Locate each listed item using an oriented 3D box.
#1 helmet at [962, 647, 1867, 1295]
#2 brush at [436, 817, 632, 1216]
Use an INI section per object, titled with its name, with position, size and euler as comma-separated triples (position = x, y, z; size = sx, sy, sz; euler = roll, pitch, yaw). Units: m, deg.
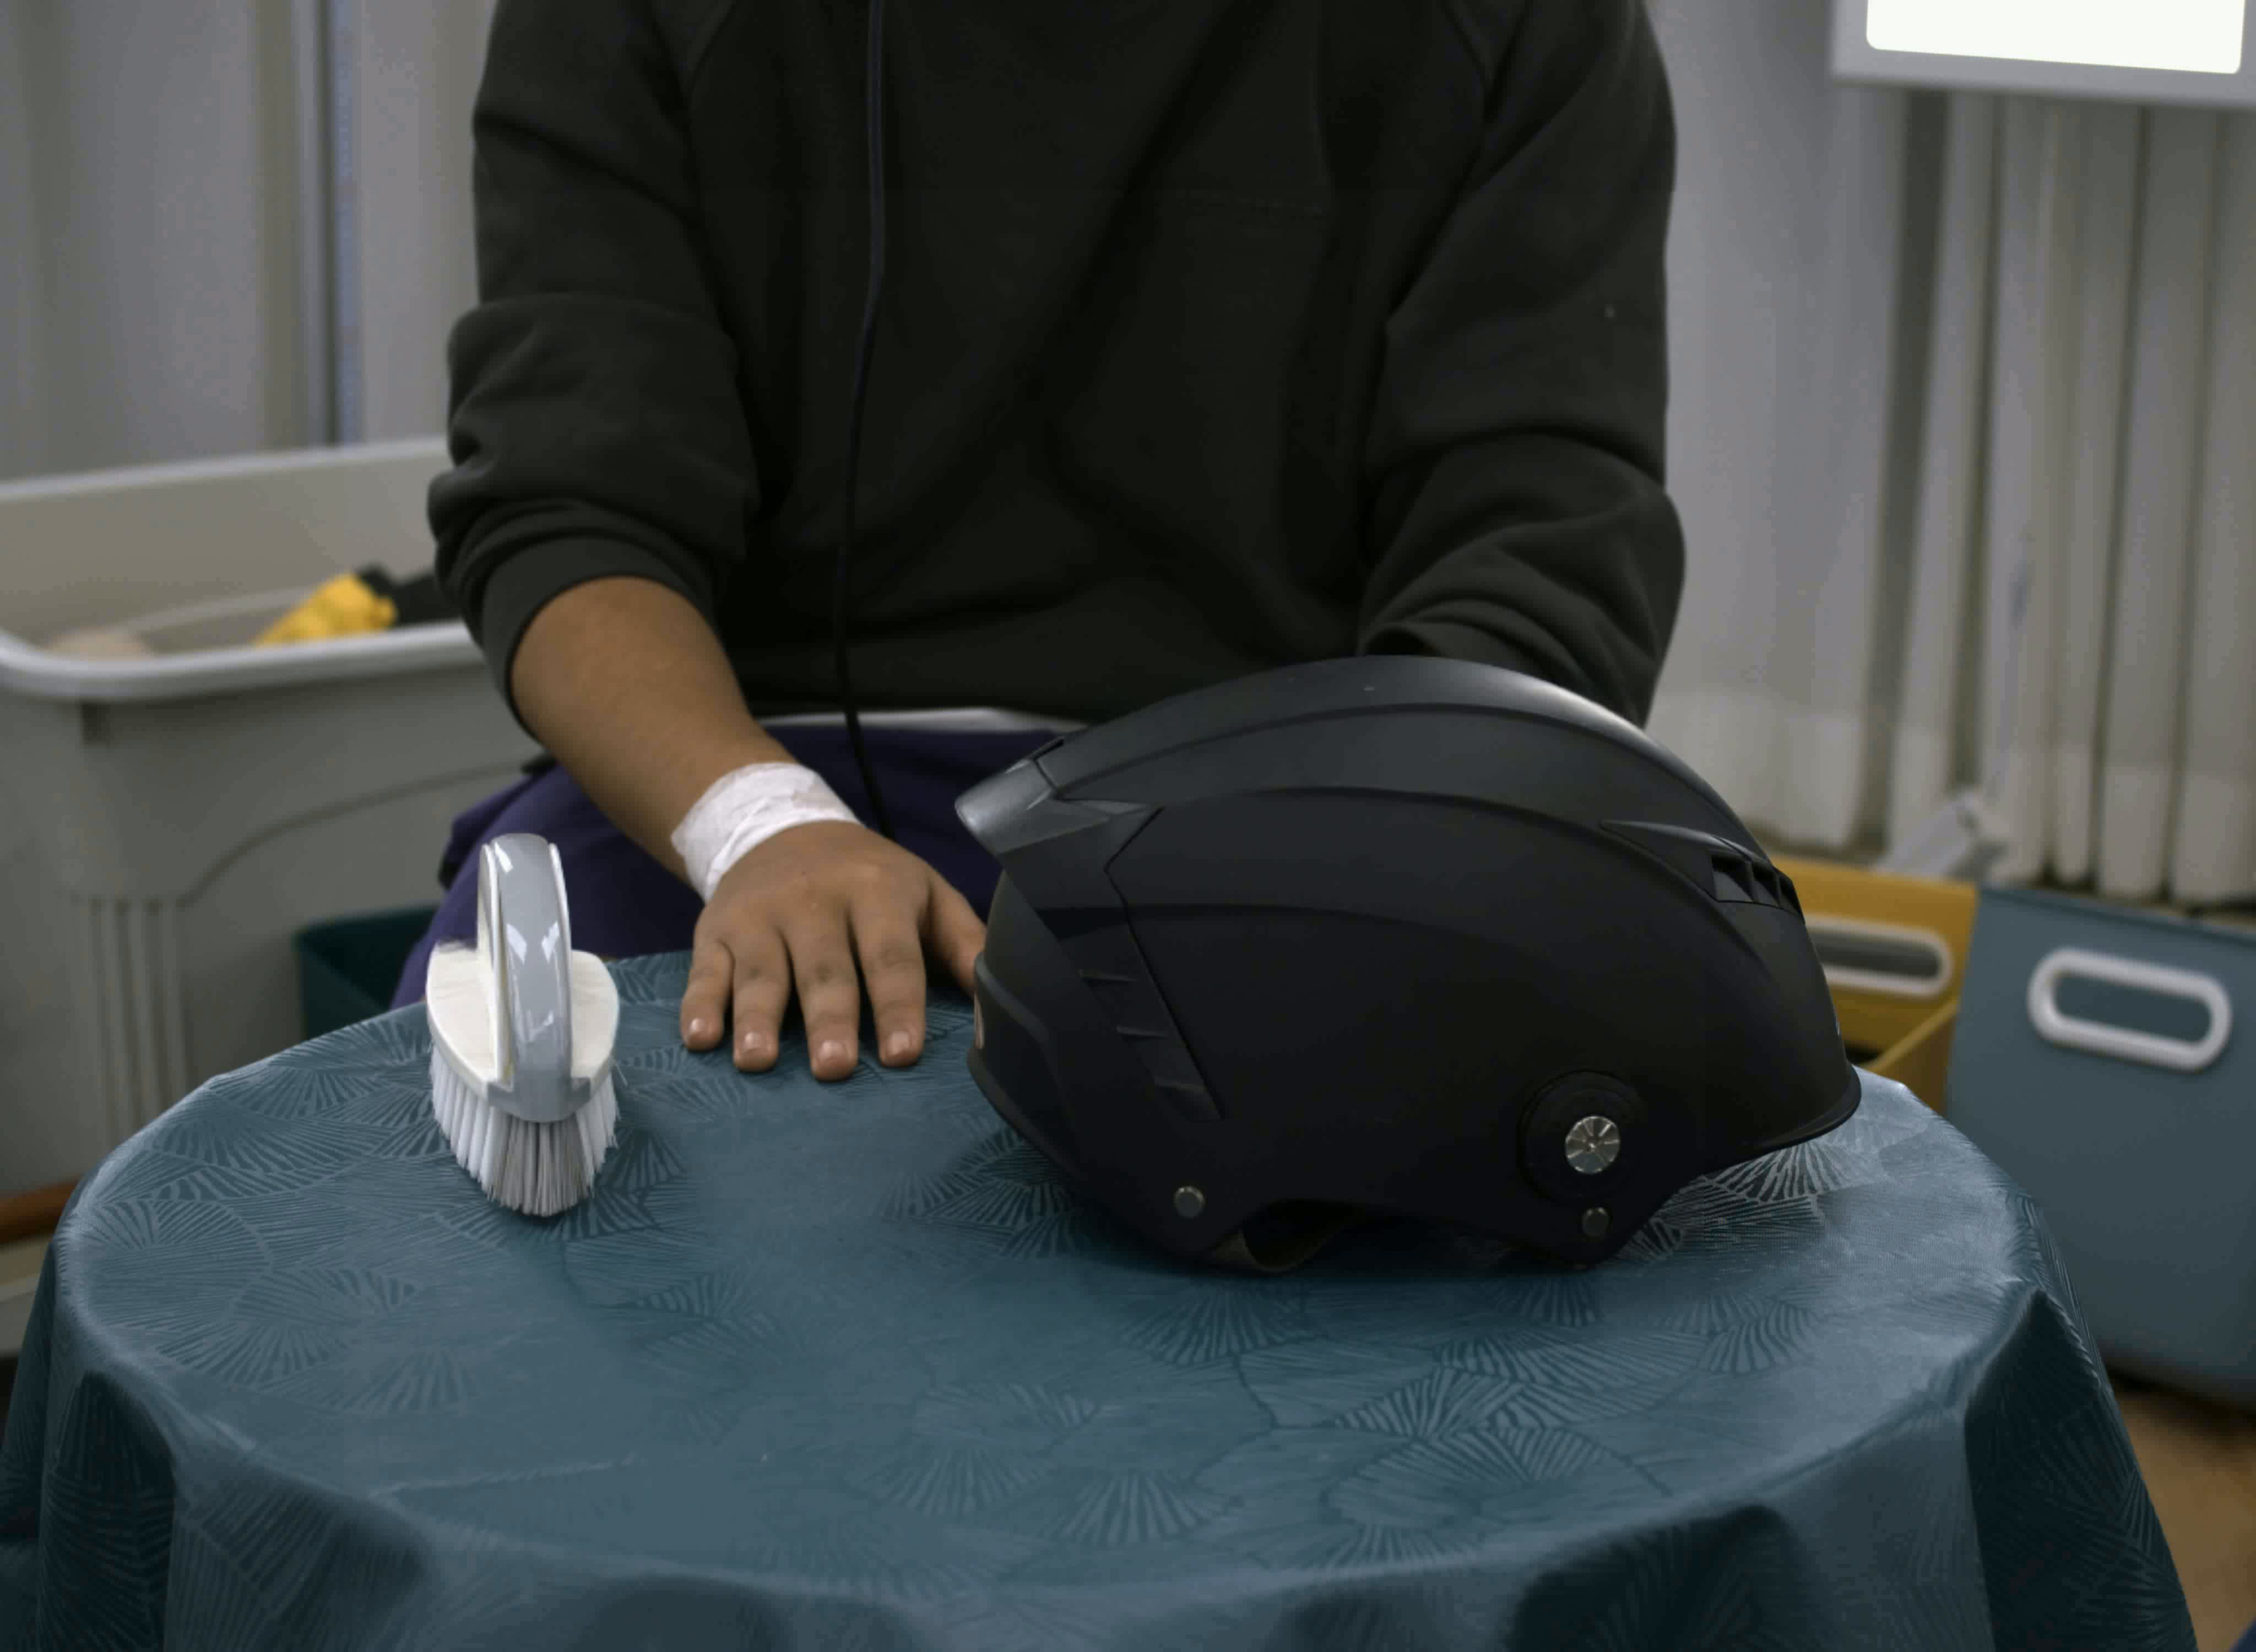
[helmet]
position = 0.085, 0.031, 1.622
size = 0.276, 0.174, 0.244
euler = -6, 17, -8
[brush]
position = -0.186, 0.054, 1.655
size = 0.061, 0.095, 0.174
euler = -3, 18, -8
